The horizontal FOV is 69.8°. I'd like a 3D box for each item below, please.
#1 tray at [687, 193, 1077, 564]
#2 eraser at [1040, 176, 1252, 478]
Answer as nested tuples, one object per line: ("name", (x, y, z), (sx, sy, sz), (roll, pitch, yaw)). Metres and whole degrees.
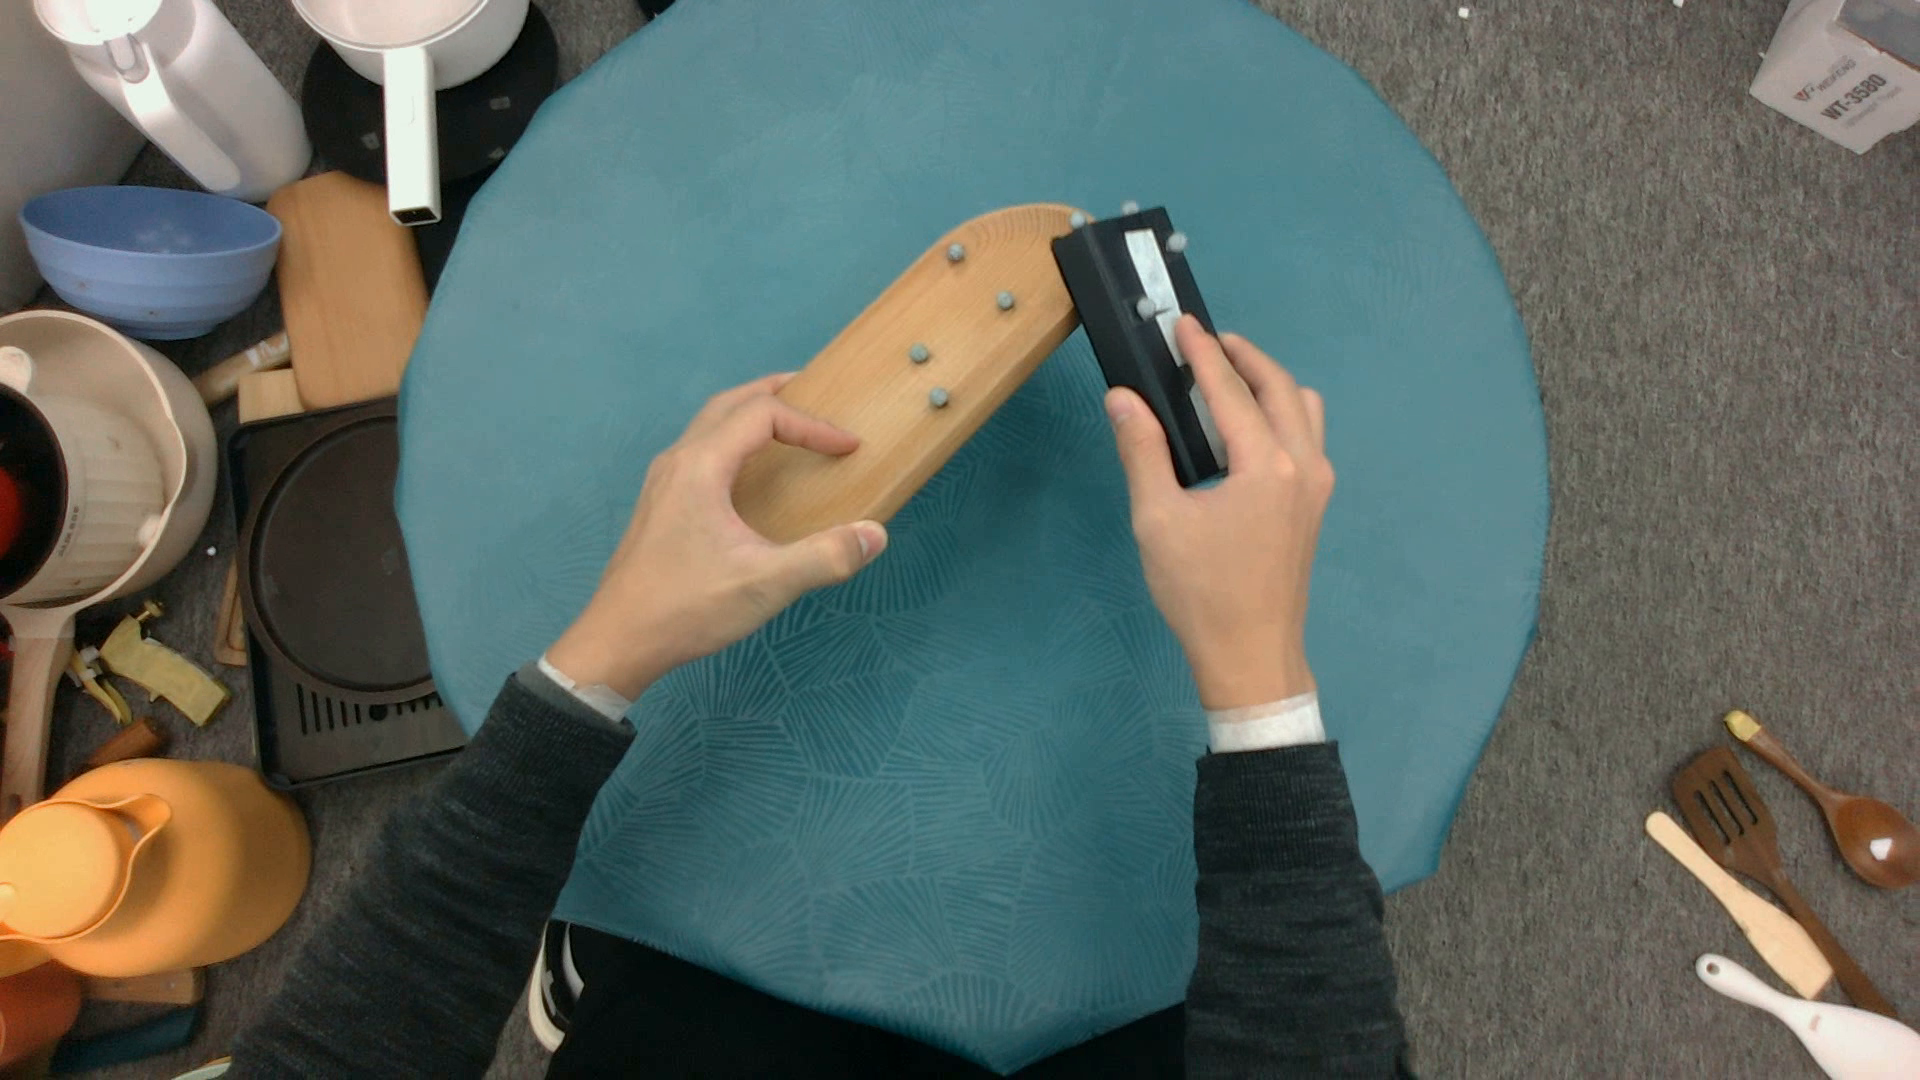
("tray", (-0.028, -0.077, 0.617), (0.101, 0.020, 0.232), (26, 67, 40))
("eraser", (0.081, -0.093, 0.601), (0.054, 0.030, 0.125), (-22, 91, -34))
